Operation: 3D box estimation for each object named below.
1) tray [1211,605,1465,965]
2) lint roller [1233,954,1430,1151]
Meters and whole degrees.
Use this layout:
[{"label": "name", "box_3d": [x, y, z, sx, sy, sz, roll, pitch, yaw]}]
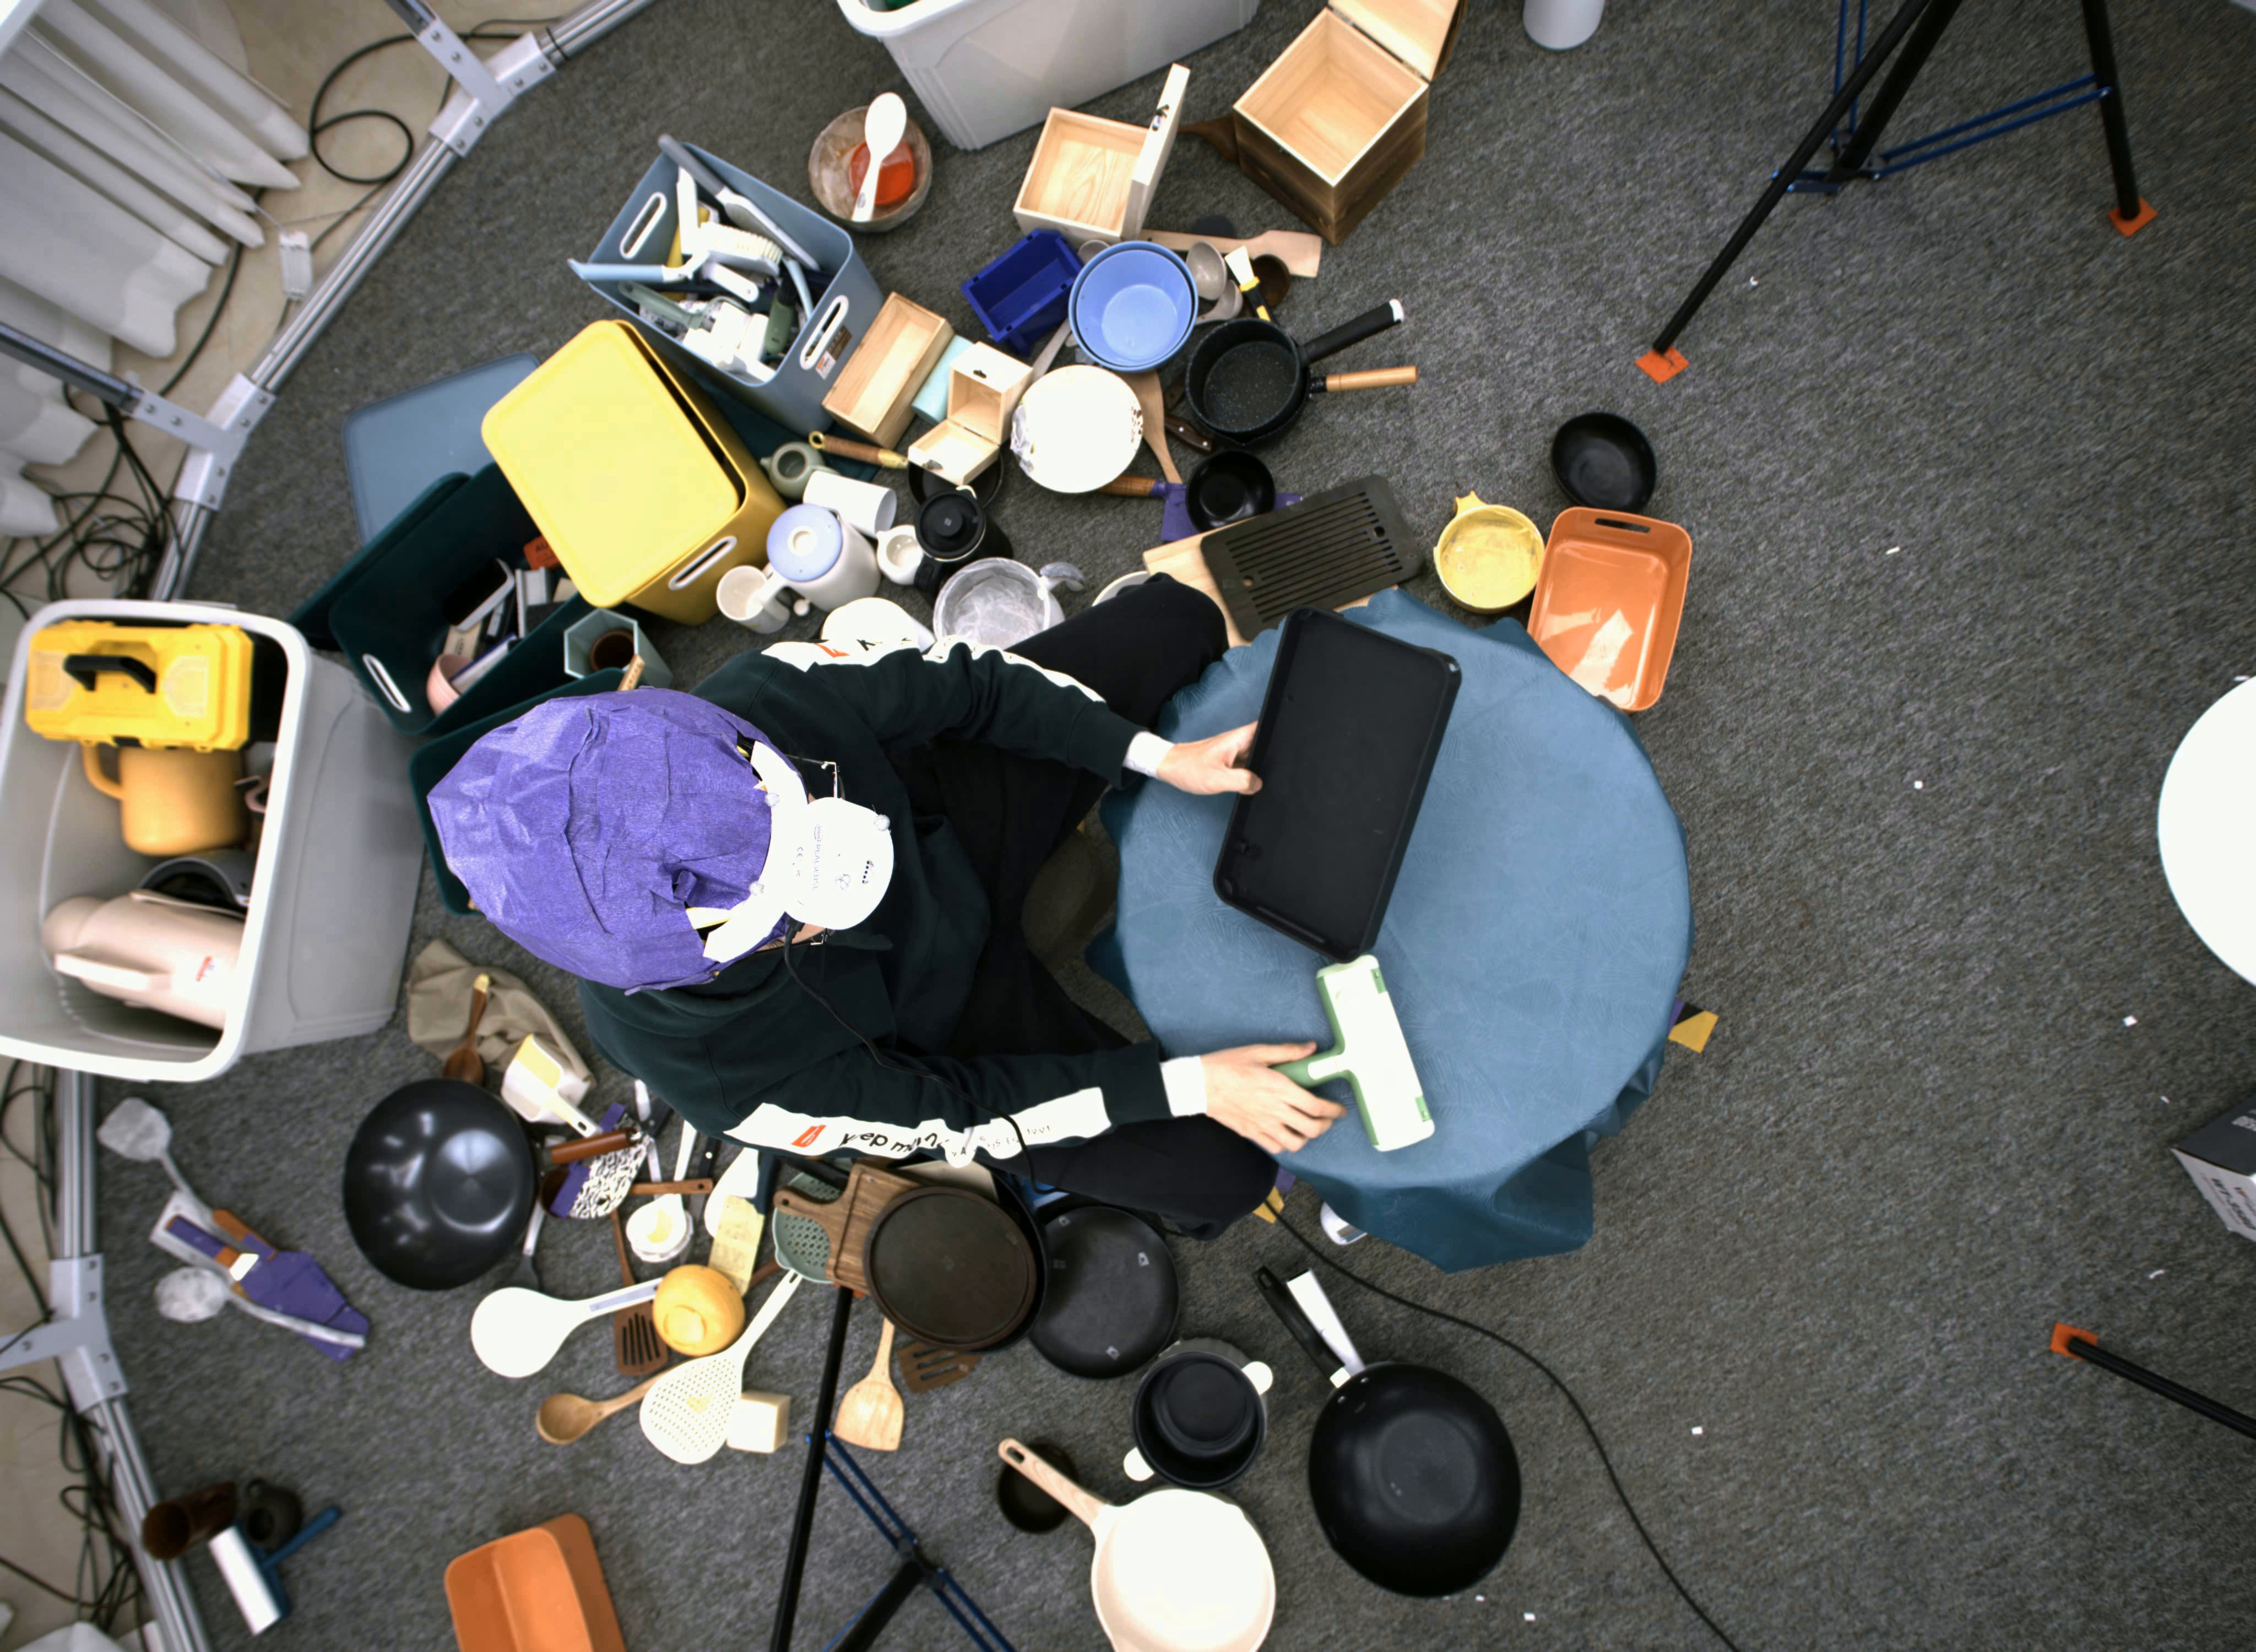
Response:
[{"label": "tray", "box_3d": [0.198, -0.040, 1.338, 0.183, 0.036, 0.324, 29, 116, 31]}, {"label": "lint roller", "box_3d": [0.195, 0.247, 1.420, 0.184, 0.082, 0.197, -17, 84, 6]}]
